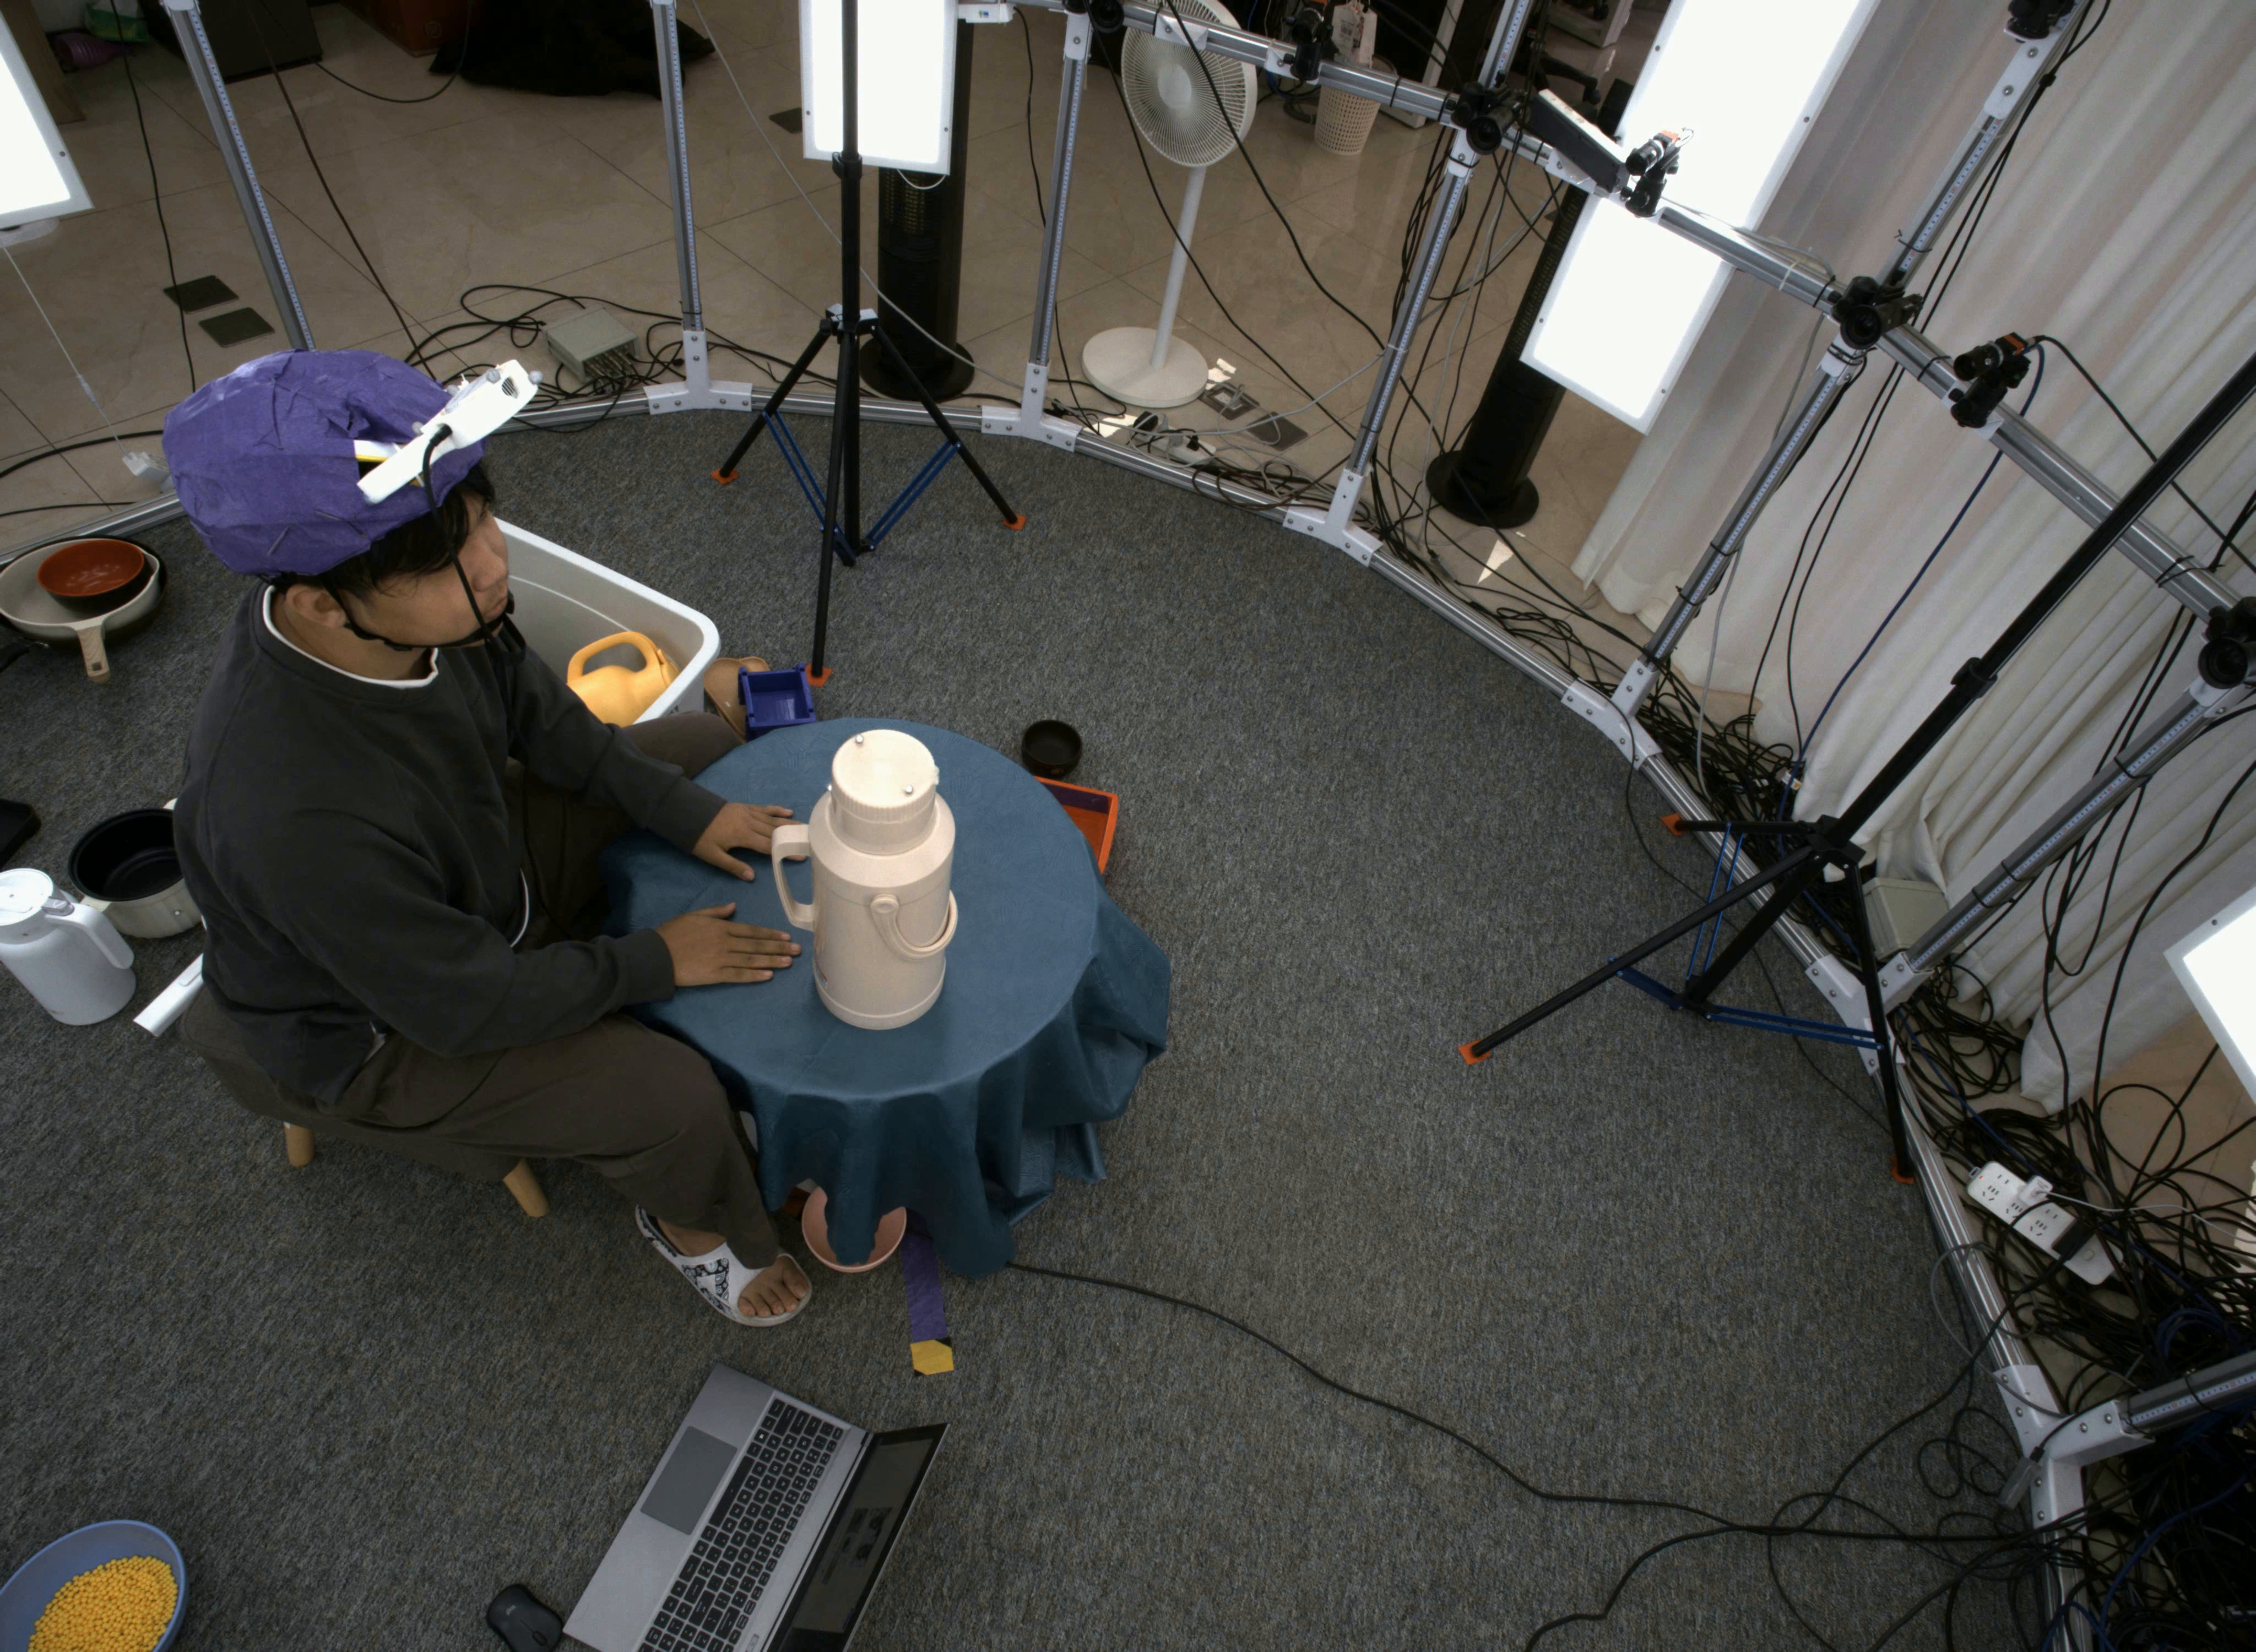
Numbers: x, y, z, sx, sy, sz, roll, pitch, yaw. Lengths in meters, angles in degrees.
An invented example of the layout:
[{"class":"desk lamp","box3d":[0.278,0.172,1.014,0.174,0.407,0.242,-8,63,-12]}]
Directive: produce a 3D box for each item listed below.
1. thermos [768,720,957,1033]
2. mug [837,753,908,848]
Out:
[{"class":"thermos","box3d":[-0.291,0.059,1.452,0.207,0.415,0.171,-2,53,-13]},{"class":"mug","box3d":[-0.341,-0.042,1.714,0.094,0.092,0.120,-13,57,-21]}]
